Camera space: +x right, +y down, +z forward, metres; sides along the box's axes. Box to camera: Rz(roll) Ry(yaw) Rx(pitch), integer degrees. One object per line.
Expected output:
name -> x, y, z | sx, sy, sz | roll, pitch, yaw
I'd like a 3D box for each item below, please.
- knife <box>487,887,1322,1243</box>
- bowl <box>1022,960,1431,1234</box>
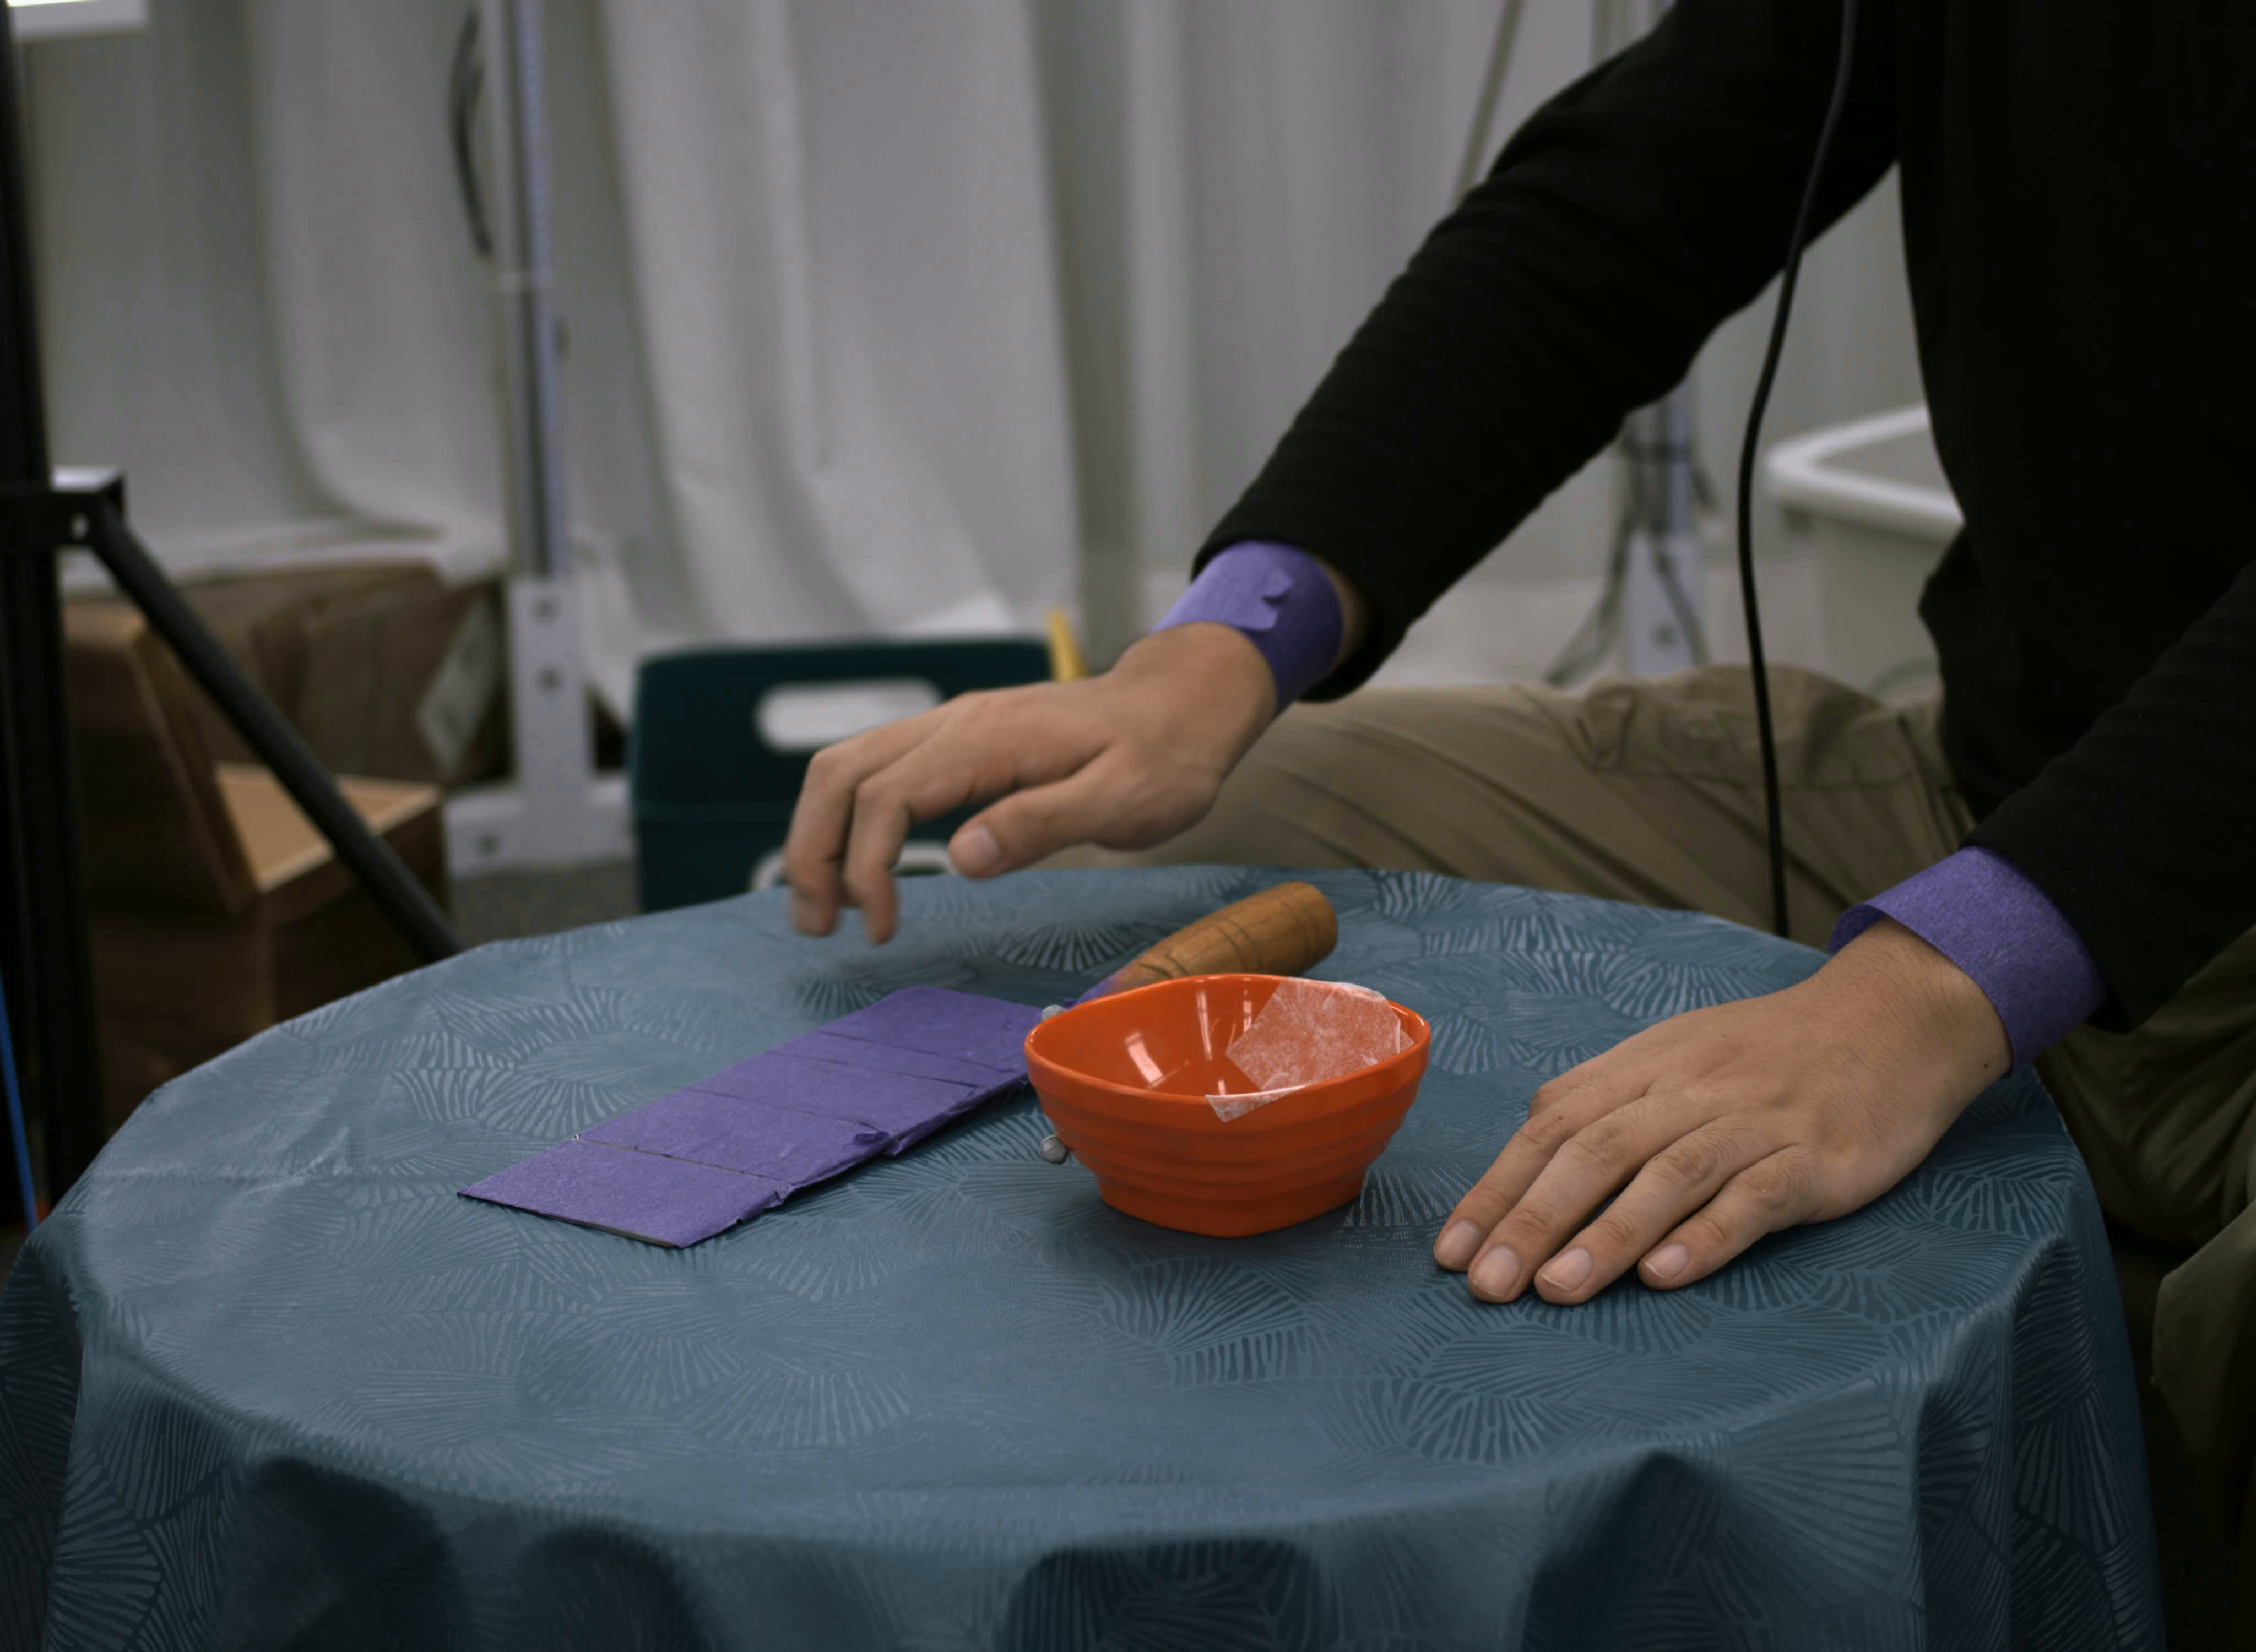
knife -> -0.066, 0.068, 1.658 | 0.106, 0.032, 0.308 | 11, 21, 38
bowl -> 0.030, 0.081, 1.541 | 0.118, 0.051, 0.119 | -4, 17, 0
